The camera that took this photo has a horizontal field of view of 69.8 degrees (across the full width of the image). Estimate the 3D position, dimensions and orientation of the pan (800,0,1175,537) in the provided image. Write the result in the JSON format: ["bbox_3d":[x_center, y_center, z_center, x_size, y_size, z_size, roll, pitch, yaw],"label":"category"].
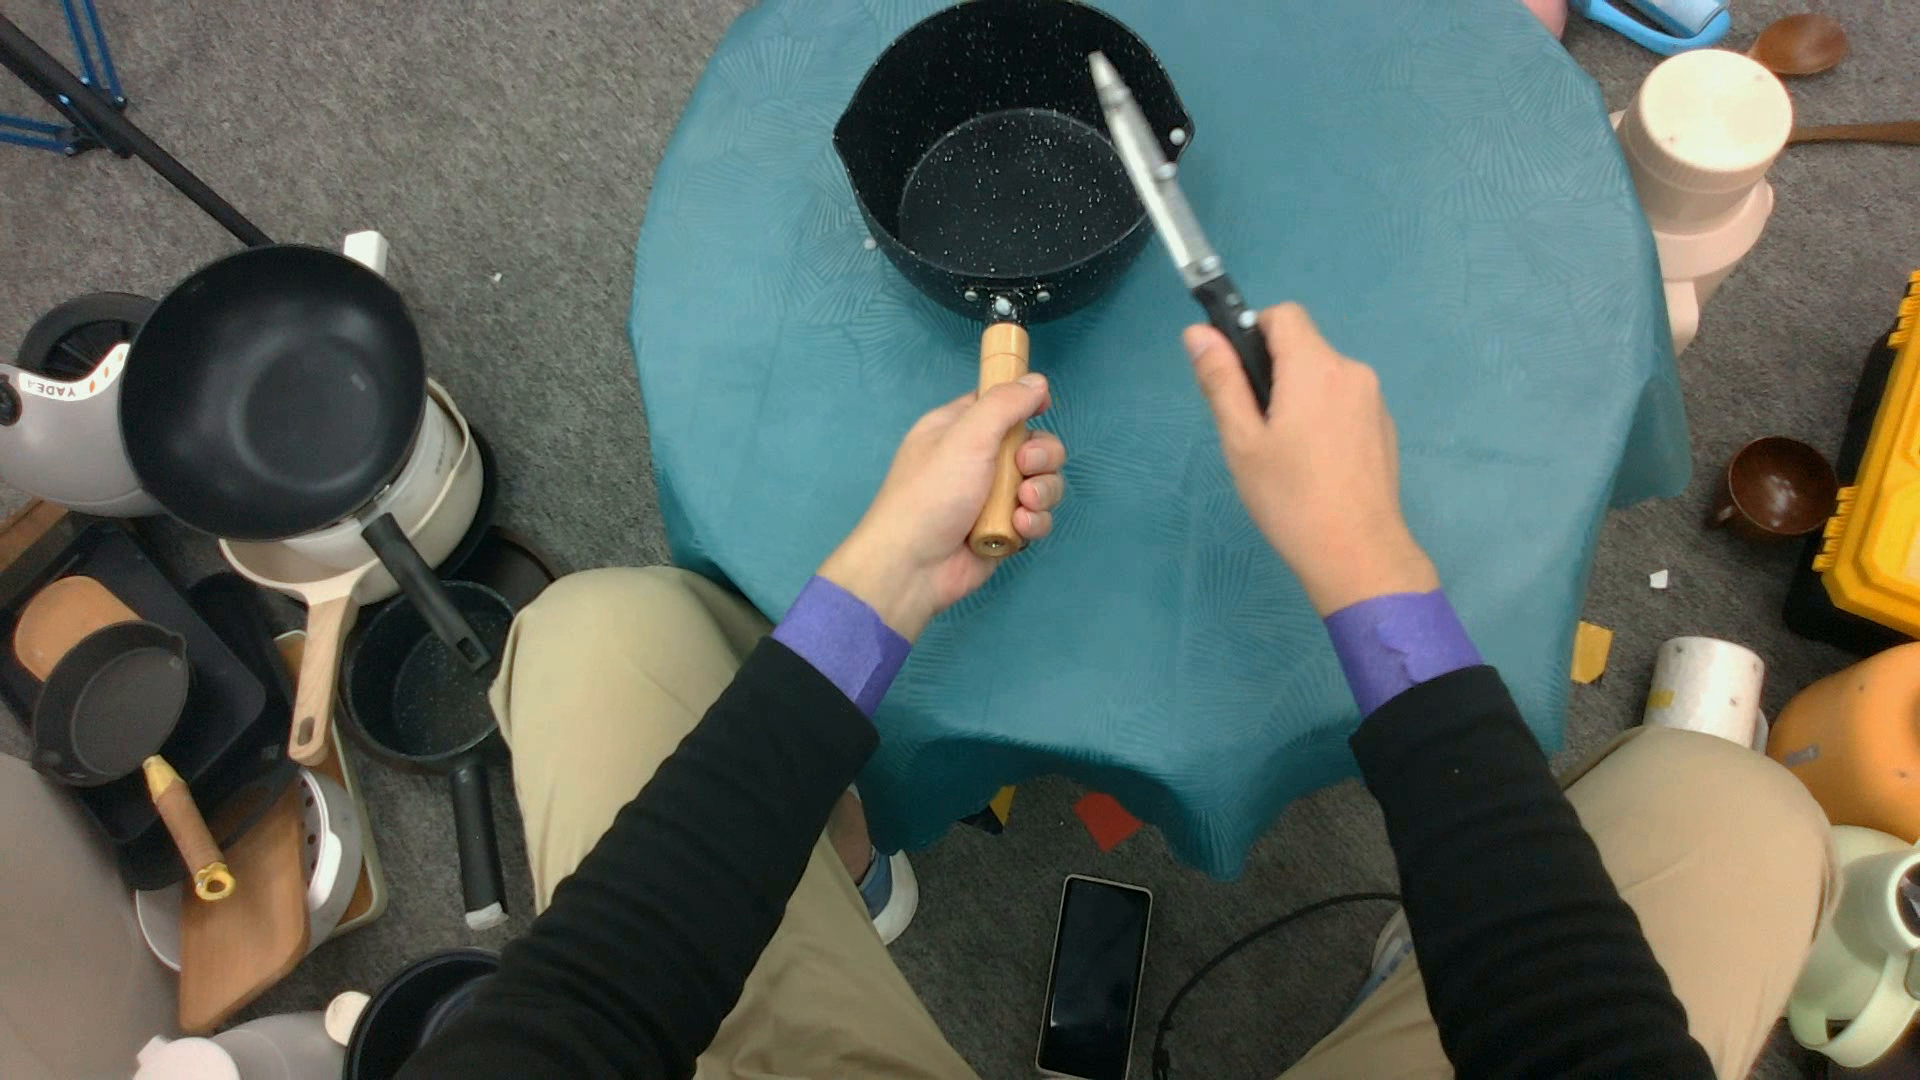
[{"bbox_3d":[0.015,-0.149,0.758,0.207,0.108,0.344,-1,69,4],"label":"pan"}]

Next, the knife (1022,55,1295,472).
[{"bbox_3d":[0.096,-0.137,0.672,0.024,0.016,0.238,-32,90,-31],"label":"knife"}]
